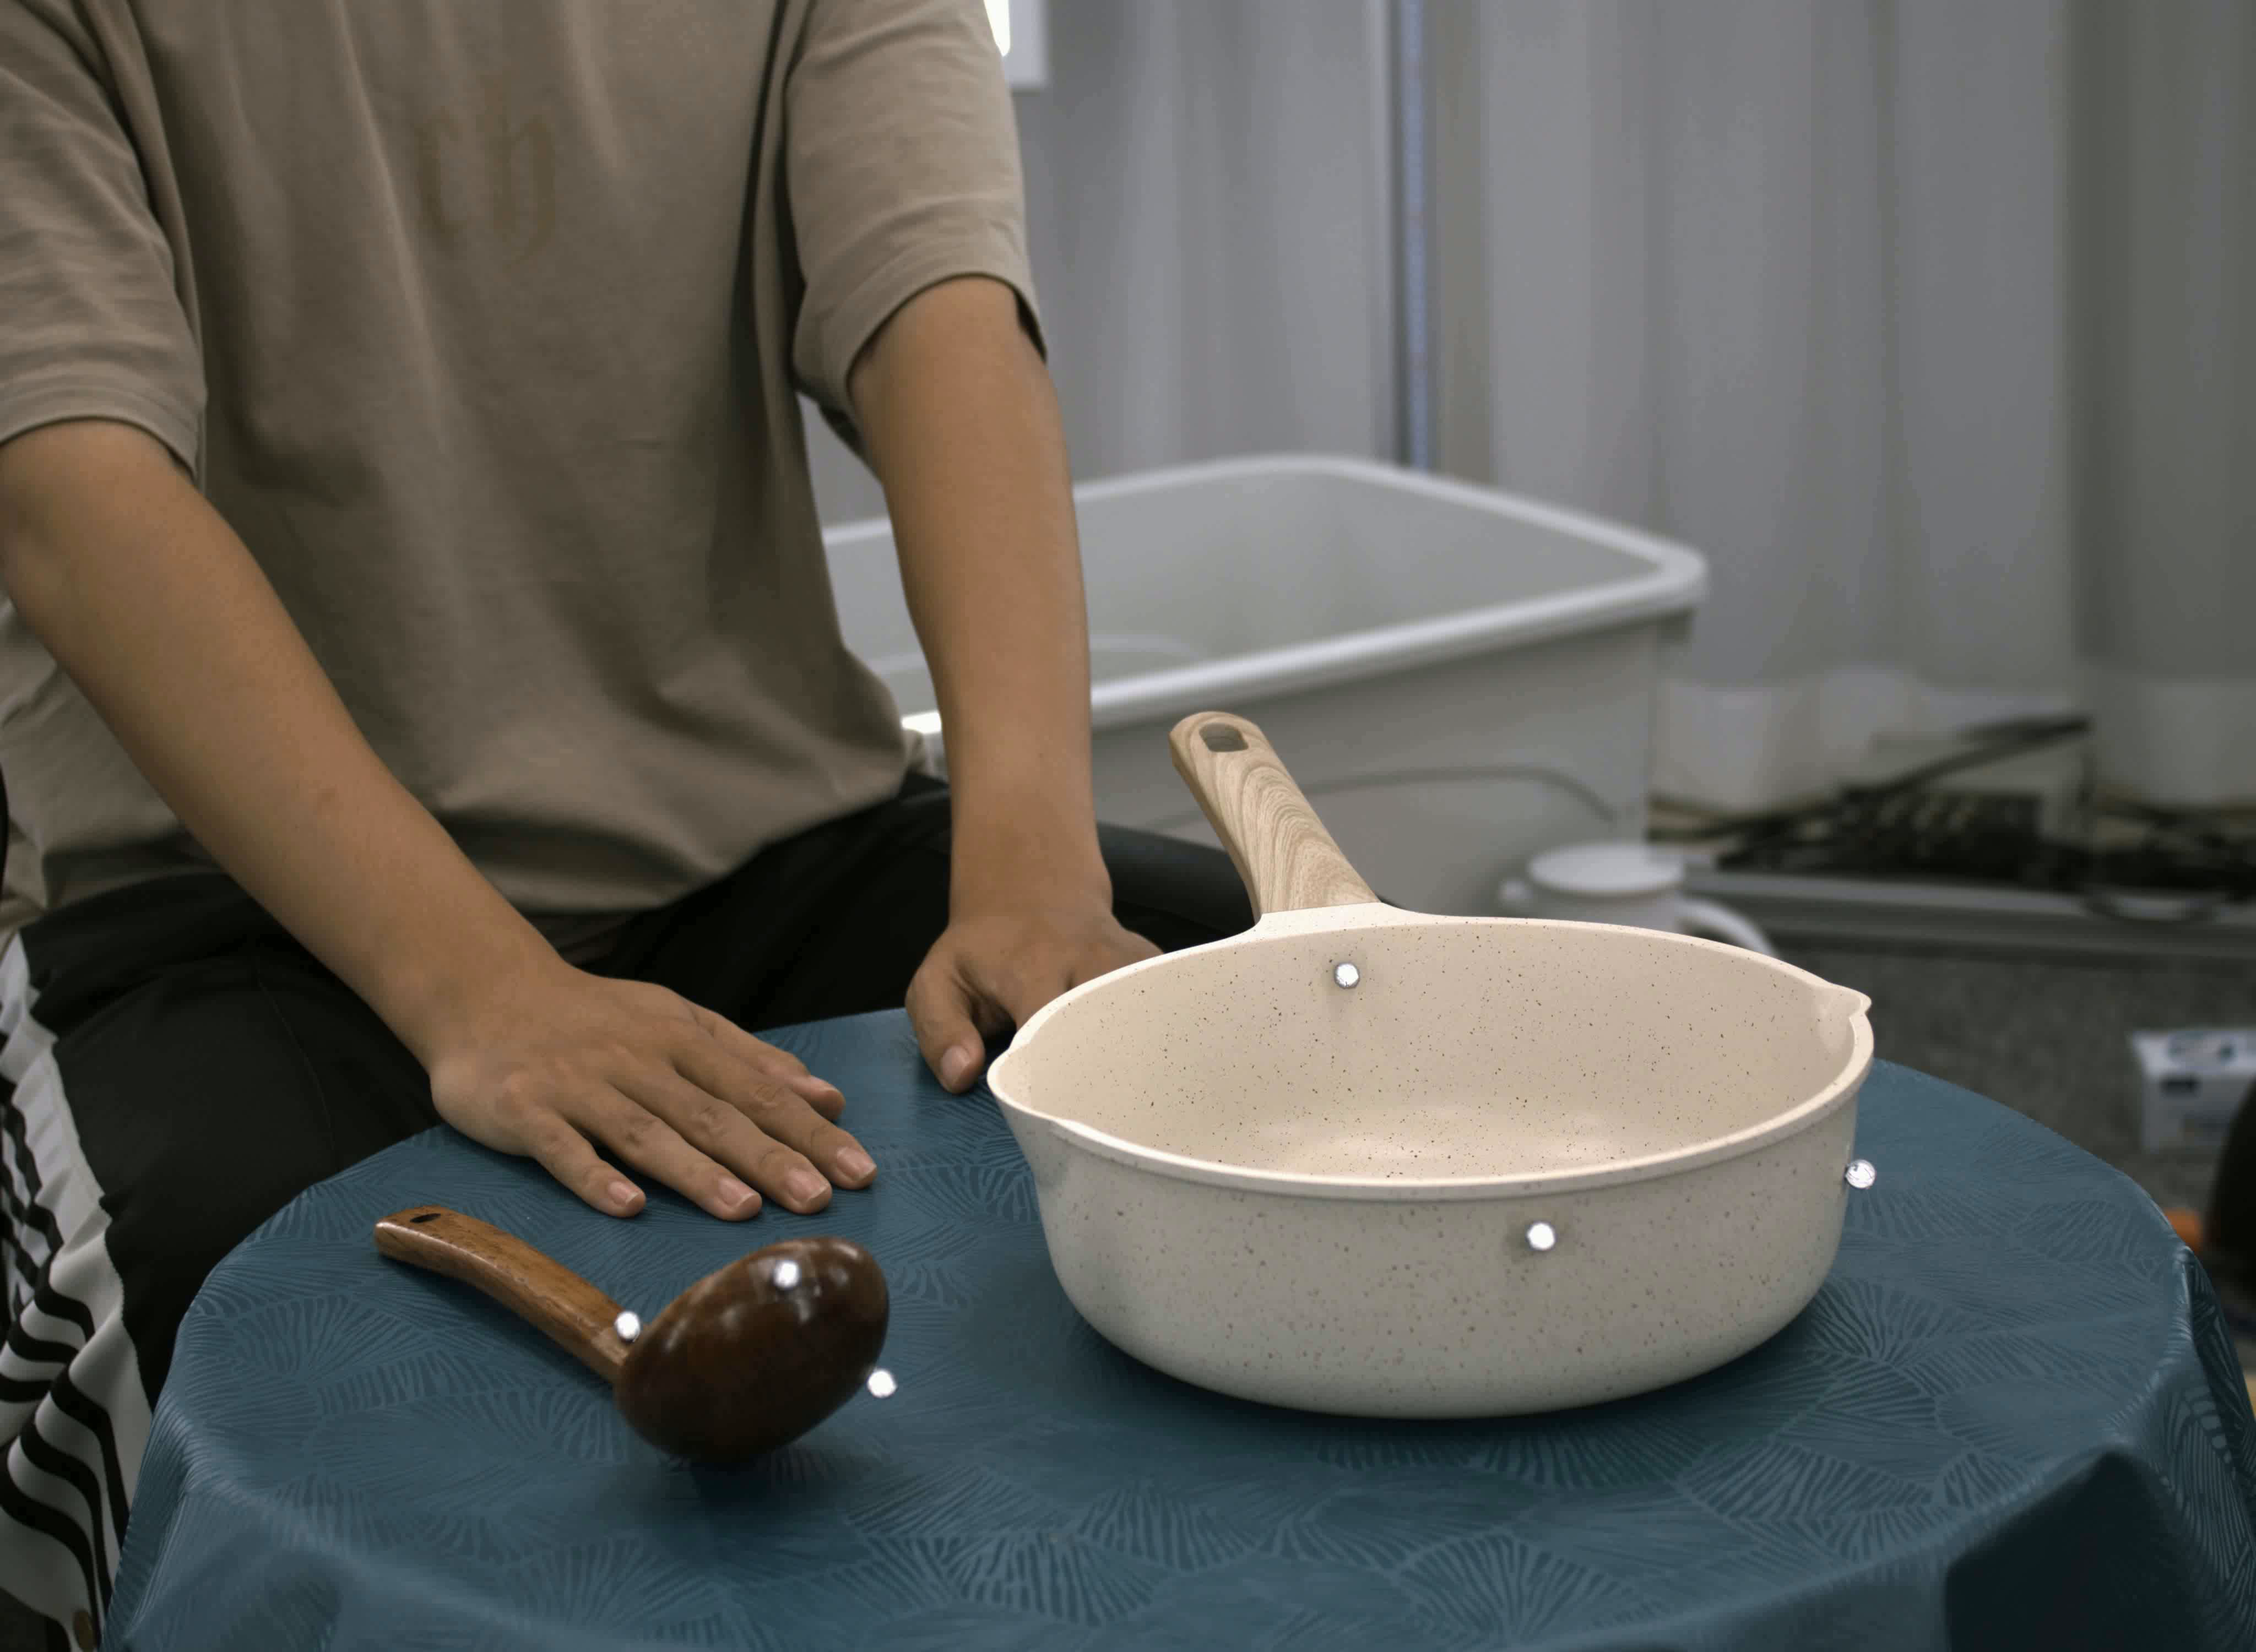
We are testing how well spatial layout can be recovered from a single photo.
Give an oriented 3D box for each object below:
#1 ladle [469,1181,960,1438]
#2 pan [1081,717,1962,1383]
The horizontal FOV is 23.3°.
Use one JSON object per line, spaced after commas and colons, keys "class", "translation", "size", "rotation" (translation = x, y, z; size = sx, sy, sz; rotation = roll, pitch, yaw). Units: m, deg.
{"class": "ladle", "translation": [-0.135, 0.115, 1.571], "size": [0.081, 0.076, 0.276], "rotation": [-11, 17, -27]}
{"class": "pan", "translation": [0.098, 0.063, 1.683], "size": [0.262, 0.101, 0.438], "rotation": [-7, 15, -10]}
